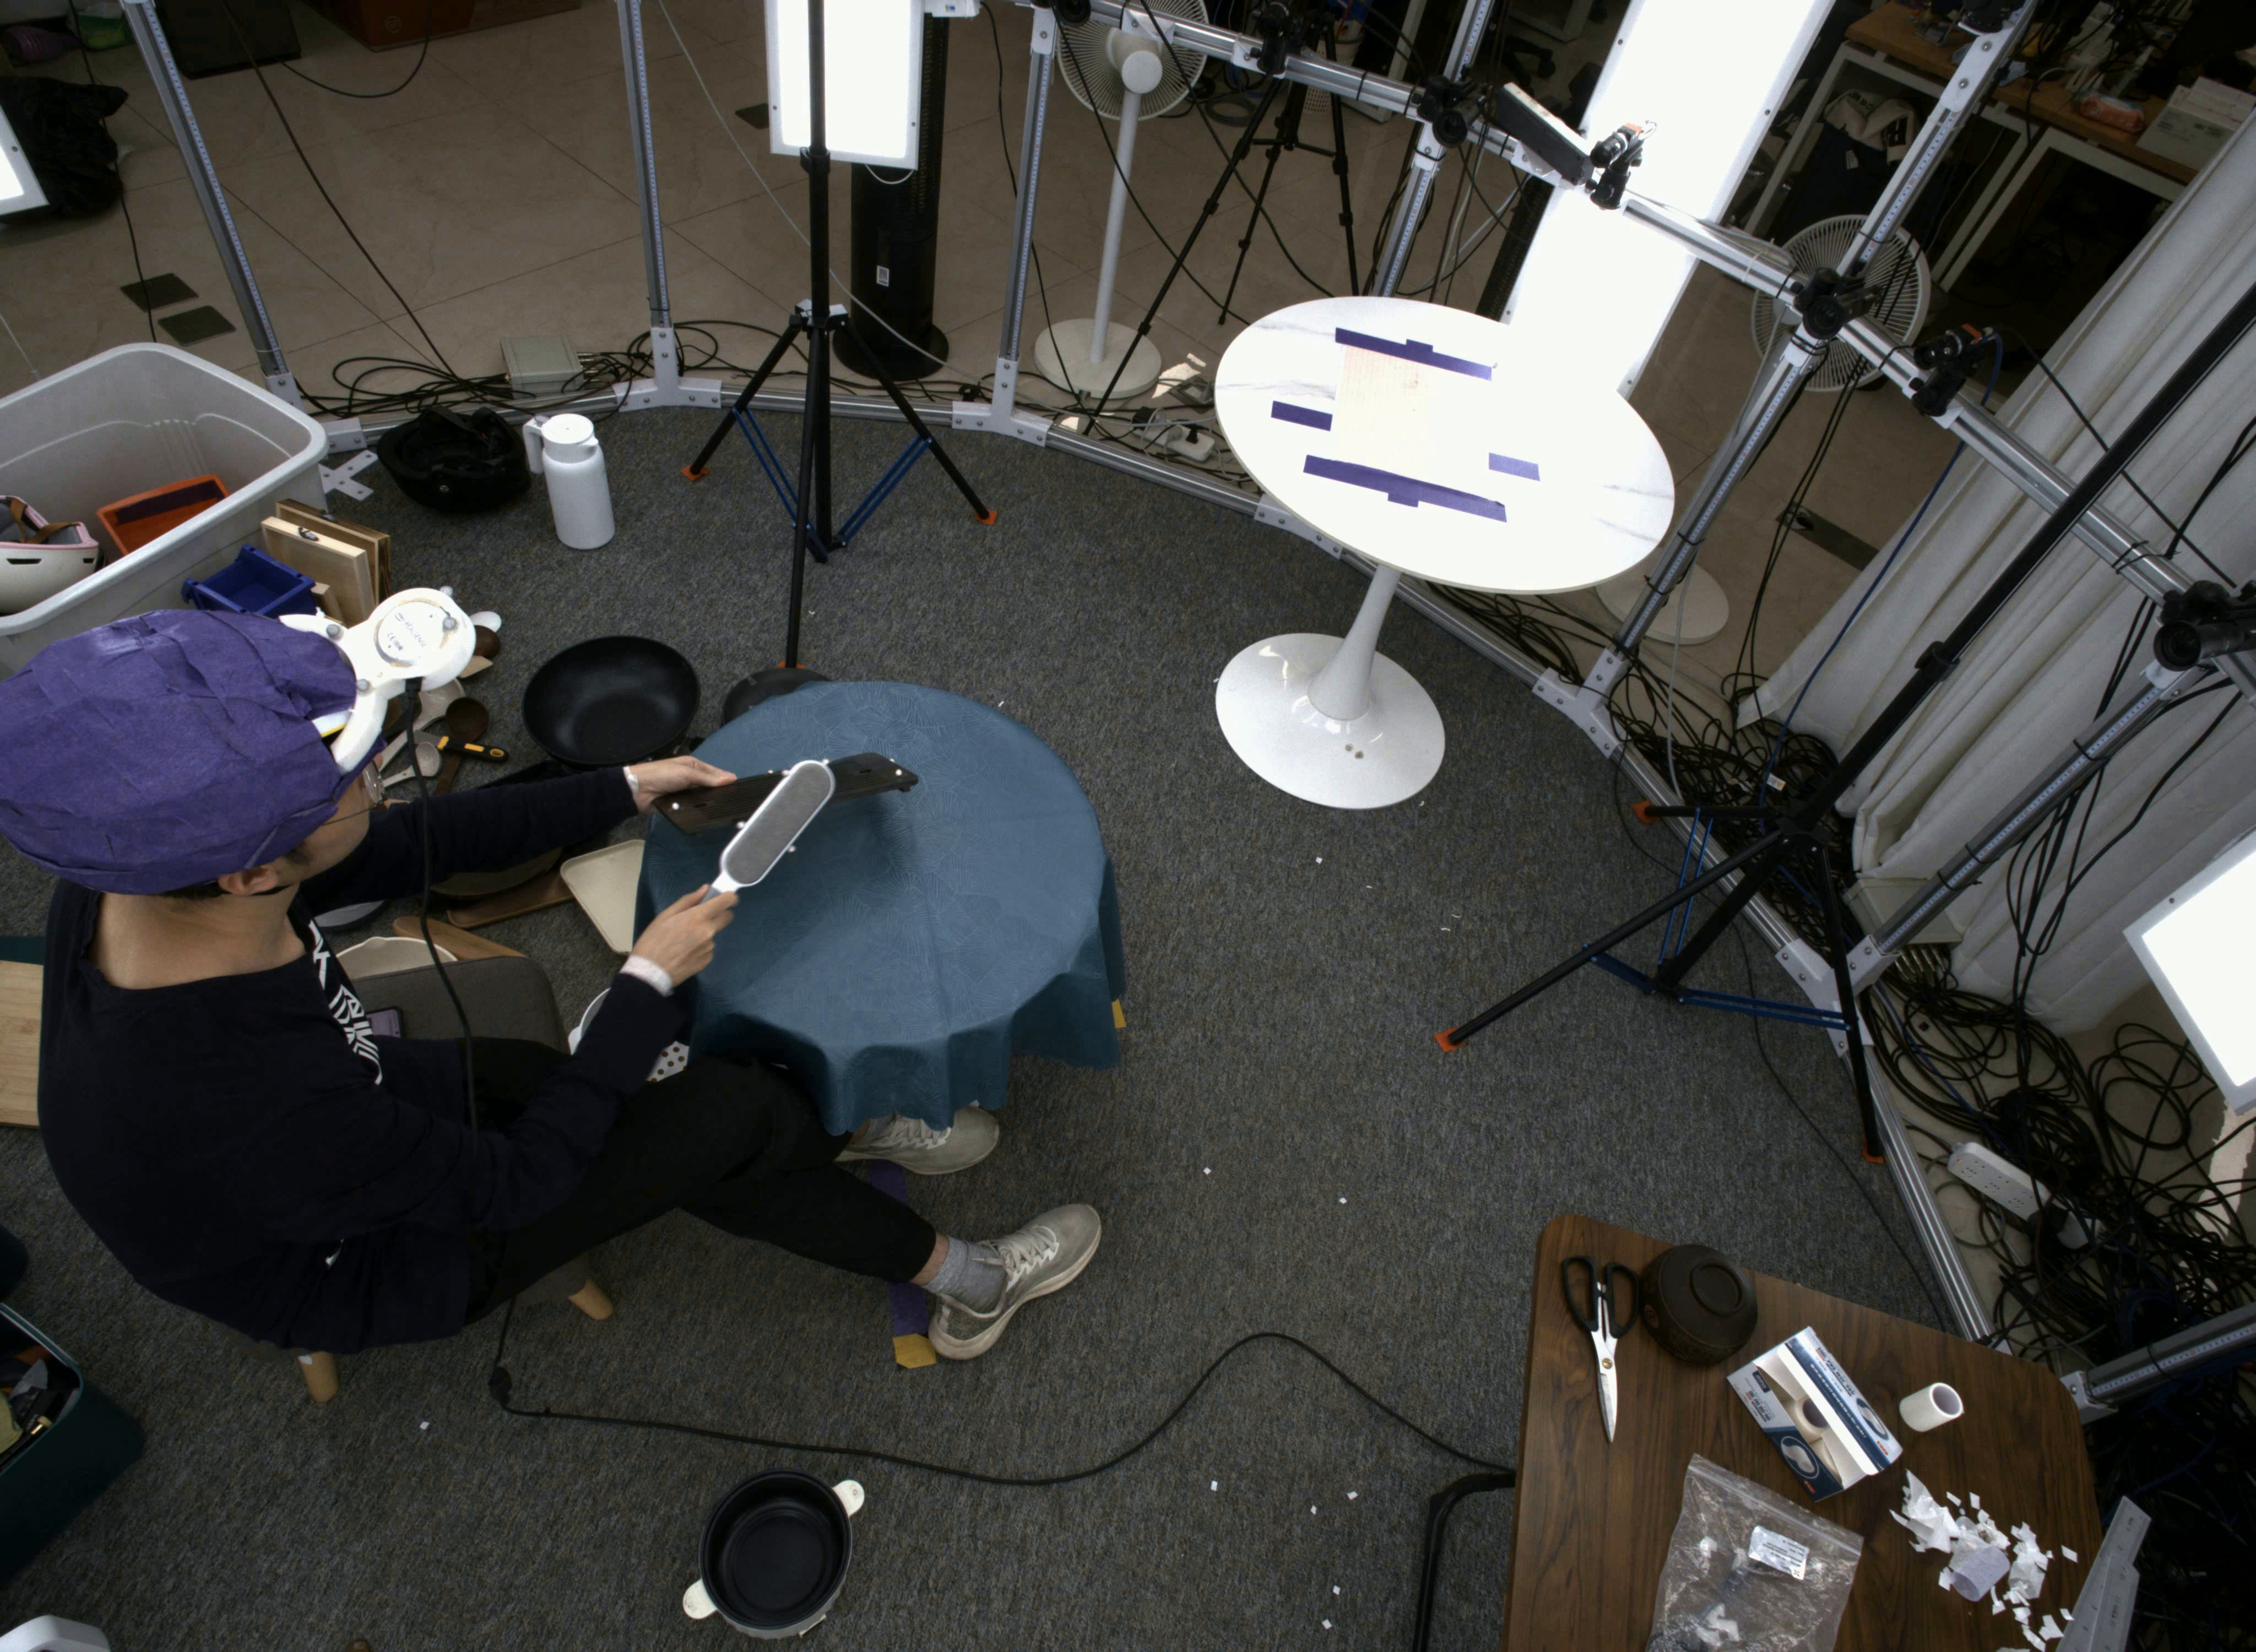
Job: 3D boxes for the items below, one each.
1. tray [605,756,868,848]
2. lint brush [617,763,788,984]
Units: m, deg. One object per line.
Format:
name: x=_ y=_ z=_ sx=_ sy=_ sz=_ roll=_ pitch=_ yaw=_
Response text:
tray: x=-0.496 y=-0.035 z=1.631 sx=0.308 sy=0.019 sz=0.164 roll=-18 pitch=23 yaw=-32
lint brush: x=-0.503 y=0.051 z=1.514 sx=0.062 sy=0.020 sz=0.309 roll=44 pitch=68 yaw=-31
